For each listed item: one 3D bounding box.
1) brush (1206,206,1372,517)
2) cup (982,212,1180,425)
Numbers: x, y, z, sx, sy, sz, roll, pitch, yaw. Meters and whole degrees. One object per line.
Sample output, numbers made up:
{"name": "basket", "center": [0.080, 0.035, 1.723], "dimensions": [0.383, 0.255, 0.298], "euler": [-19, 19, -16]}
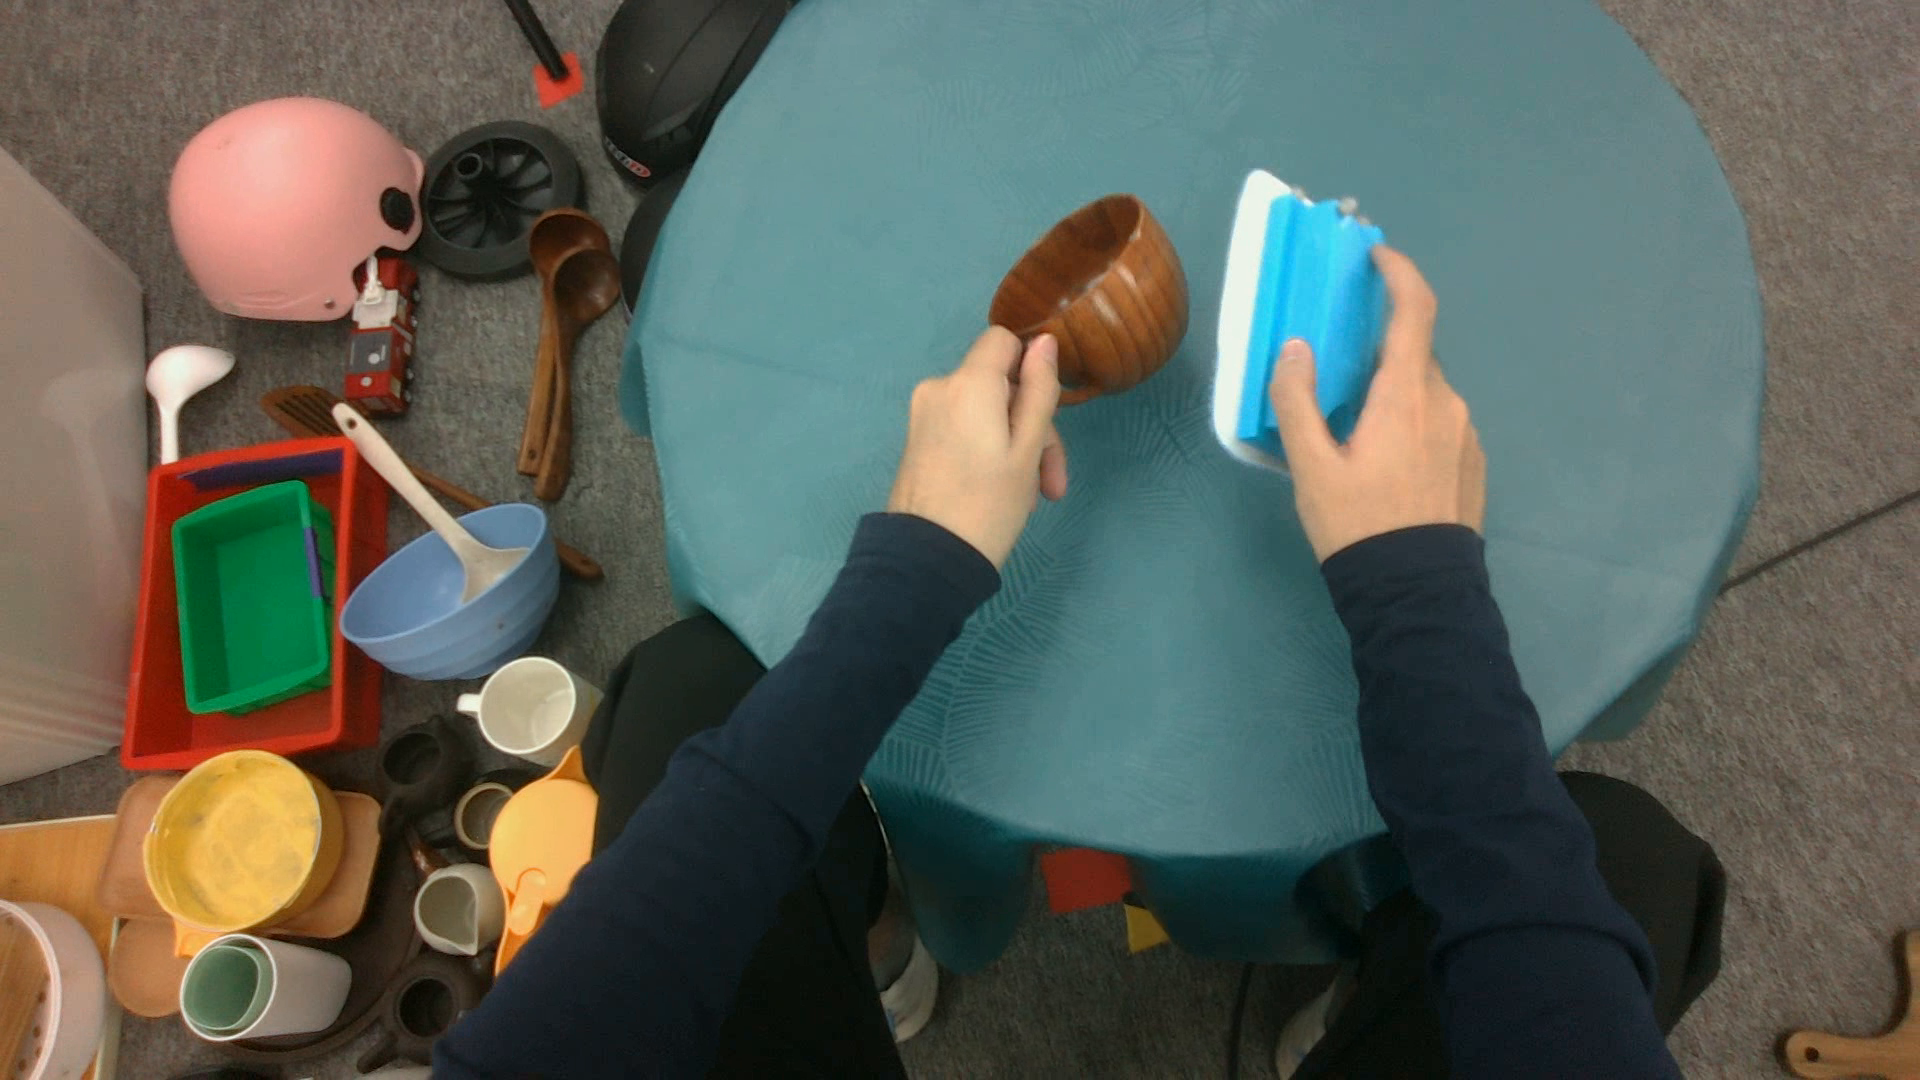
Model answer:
{"name": "brush", "center": [0.163, -0.087, 0.646], "dimensions": [0.056, 0.084, 0.144], "euler": [-11, 65, 50]}
{"name": "cup", "center": [0.063, -0.100, 0.690], "dimensions": [0.096, 0.067, 0.120], "euler": [-12, 44, 43]}
